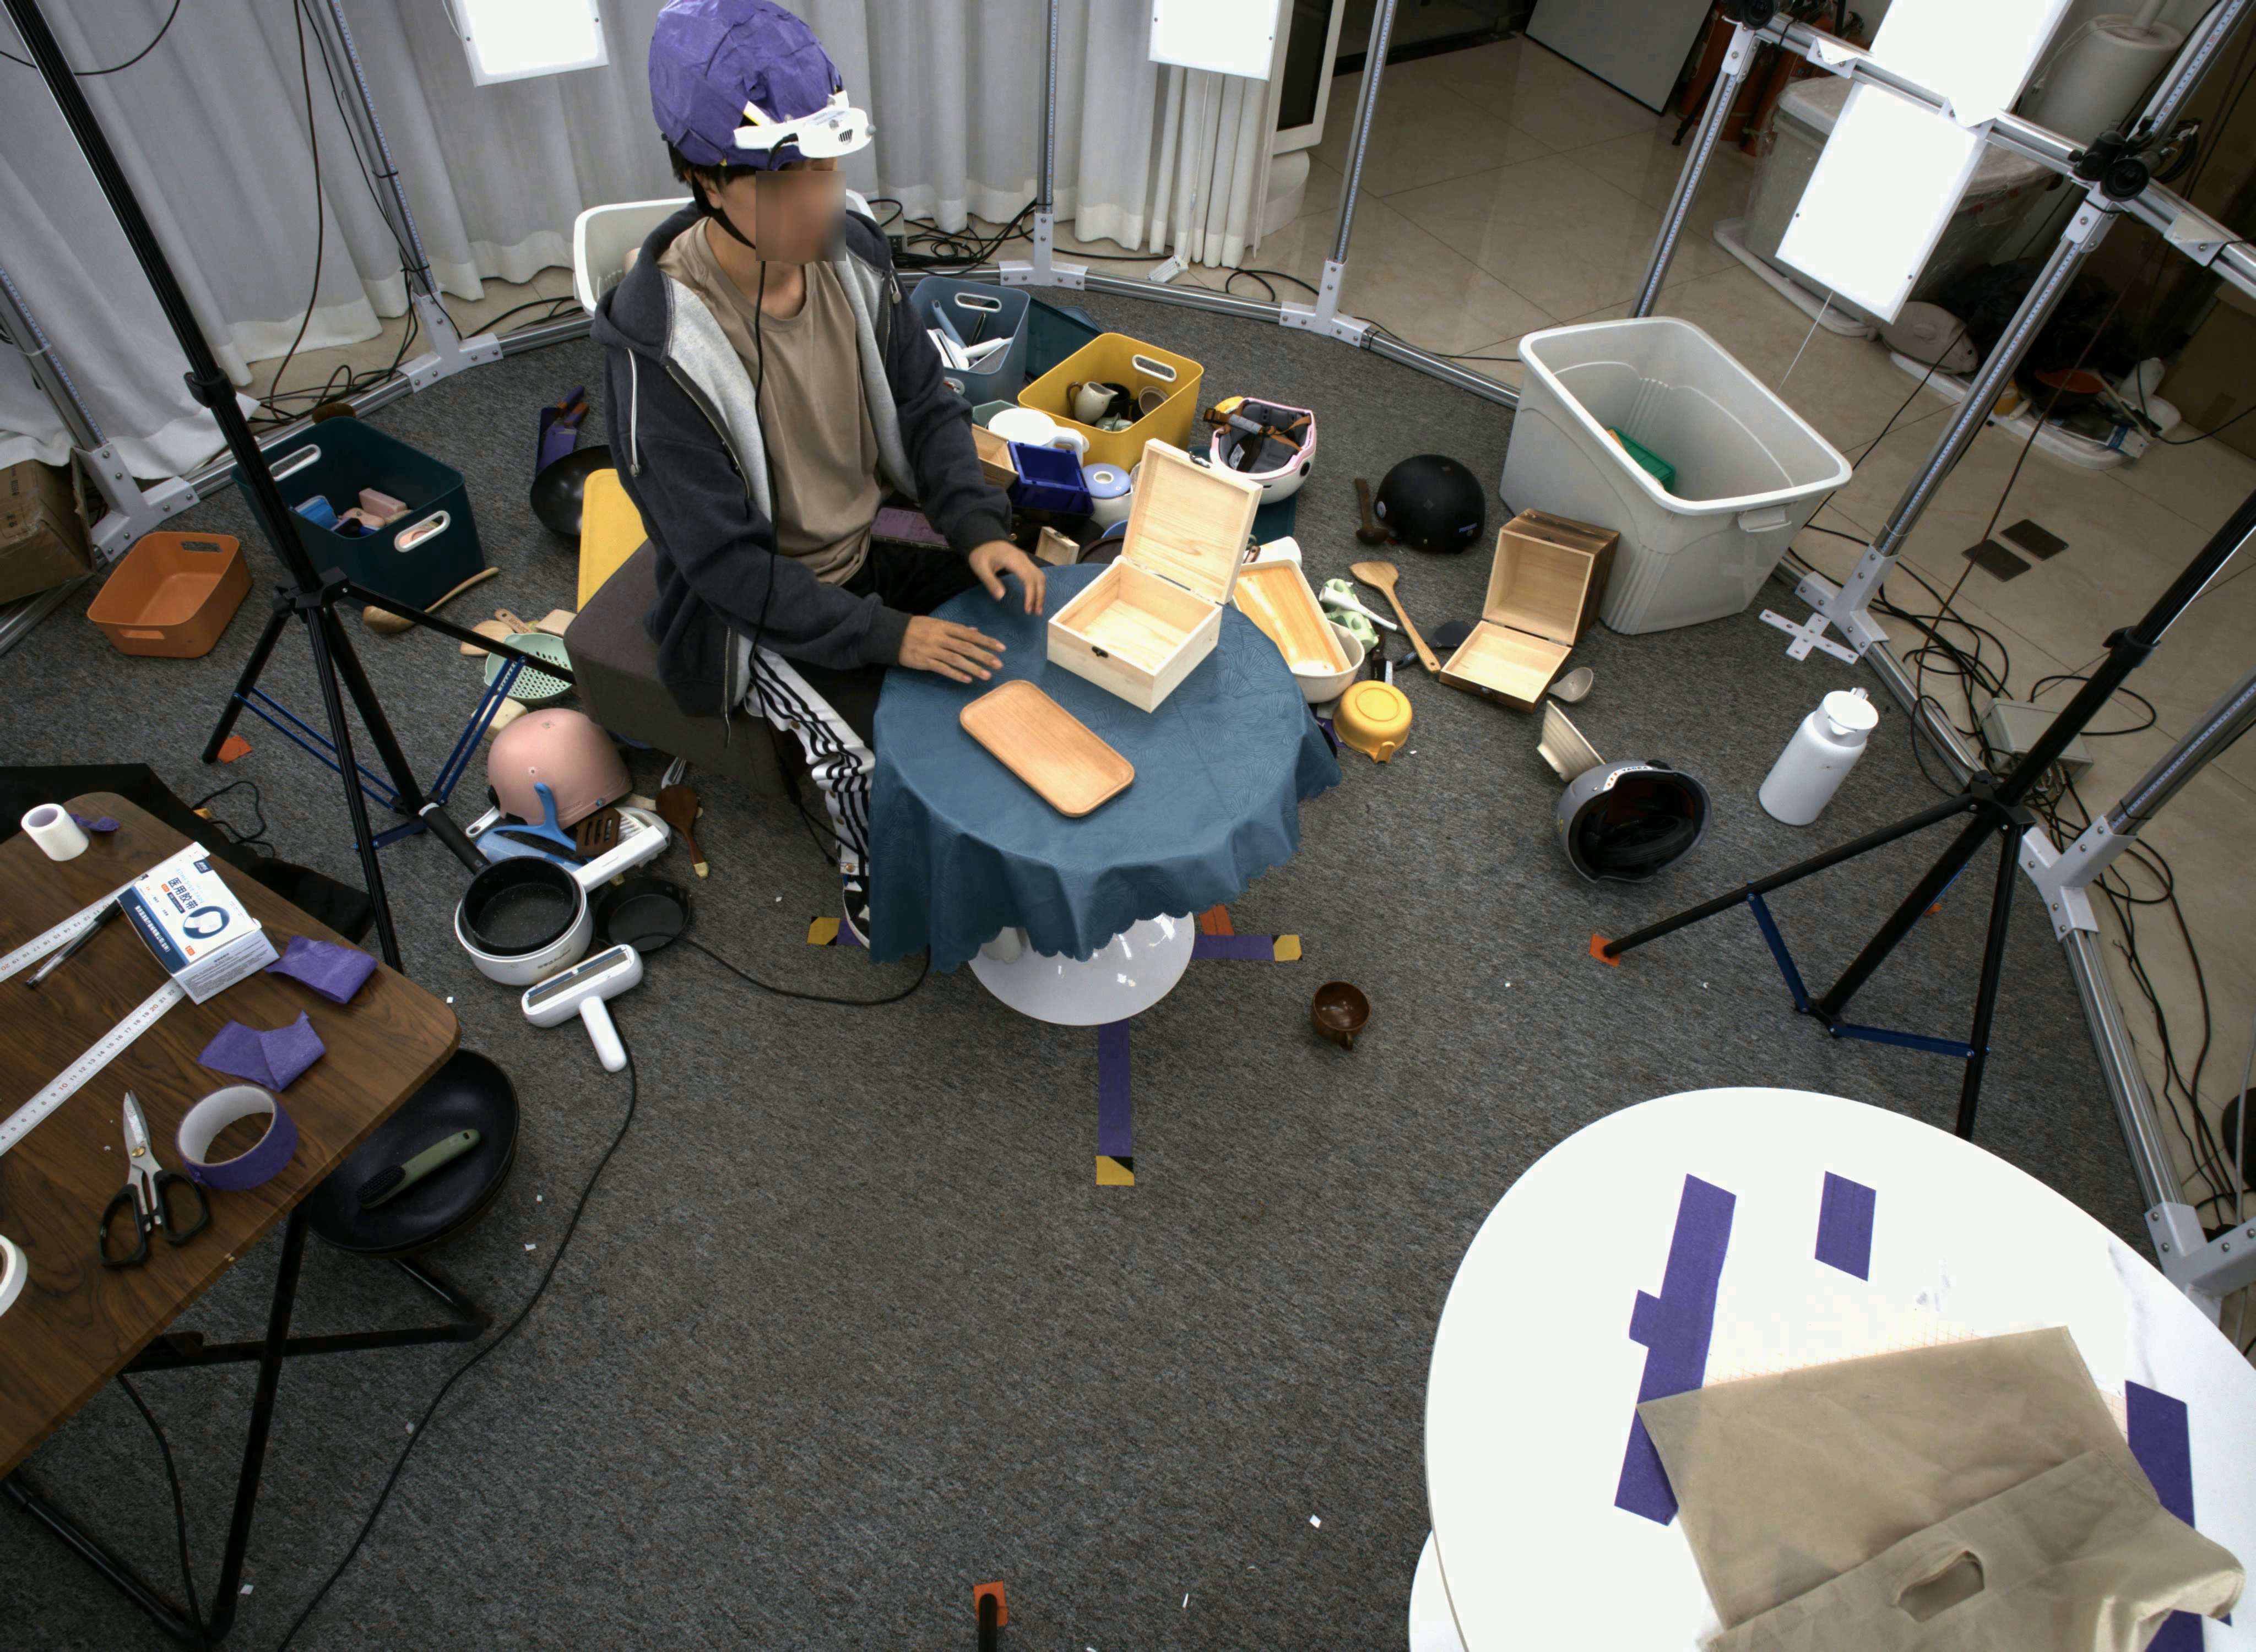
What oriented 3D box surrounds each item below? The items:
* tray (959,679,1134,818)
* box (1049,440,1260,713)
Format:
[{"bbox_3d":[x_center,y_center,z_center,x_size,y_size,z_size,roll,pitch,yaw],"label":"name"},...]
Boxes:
[{"bbox_3d":[-0.112,-0.108,1.741,0.131,0.022,0.255,-32,57,-30],"label":"tray"},{"bbox_3d":[0.033,-0.356,1.821,0.183,0.247,0.269,27,51,21],"label":"box"}]
